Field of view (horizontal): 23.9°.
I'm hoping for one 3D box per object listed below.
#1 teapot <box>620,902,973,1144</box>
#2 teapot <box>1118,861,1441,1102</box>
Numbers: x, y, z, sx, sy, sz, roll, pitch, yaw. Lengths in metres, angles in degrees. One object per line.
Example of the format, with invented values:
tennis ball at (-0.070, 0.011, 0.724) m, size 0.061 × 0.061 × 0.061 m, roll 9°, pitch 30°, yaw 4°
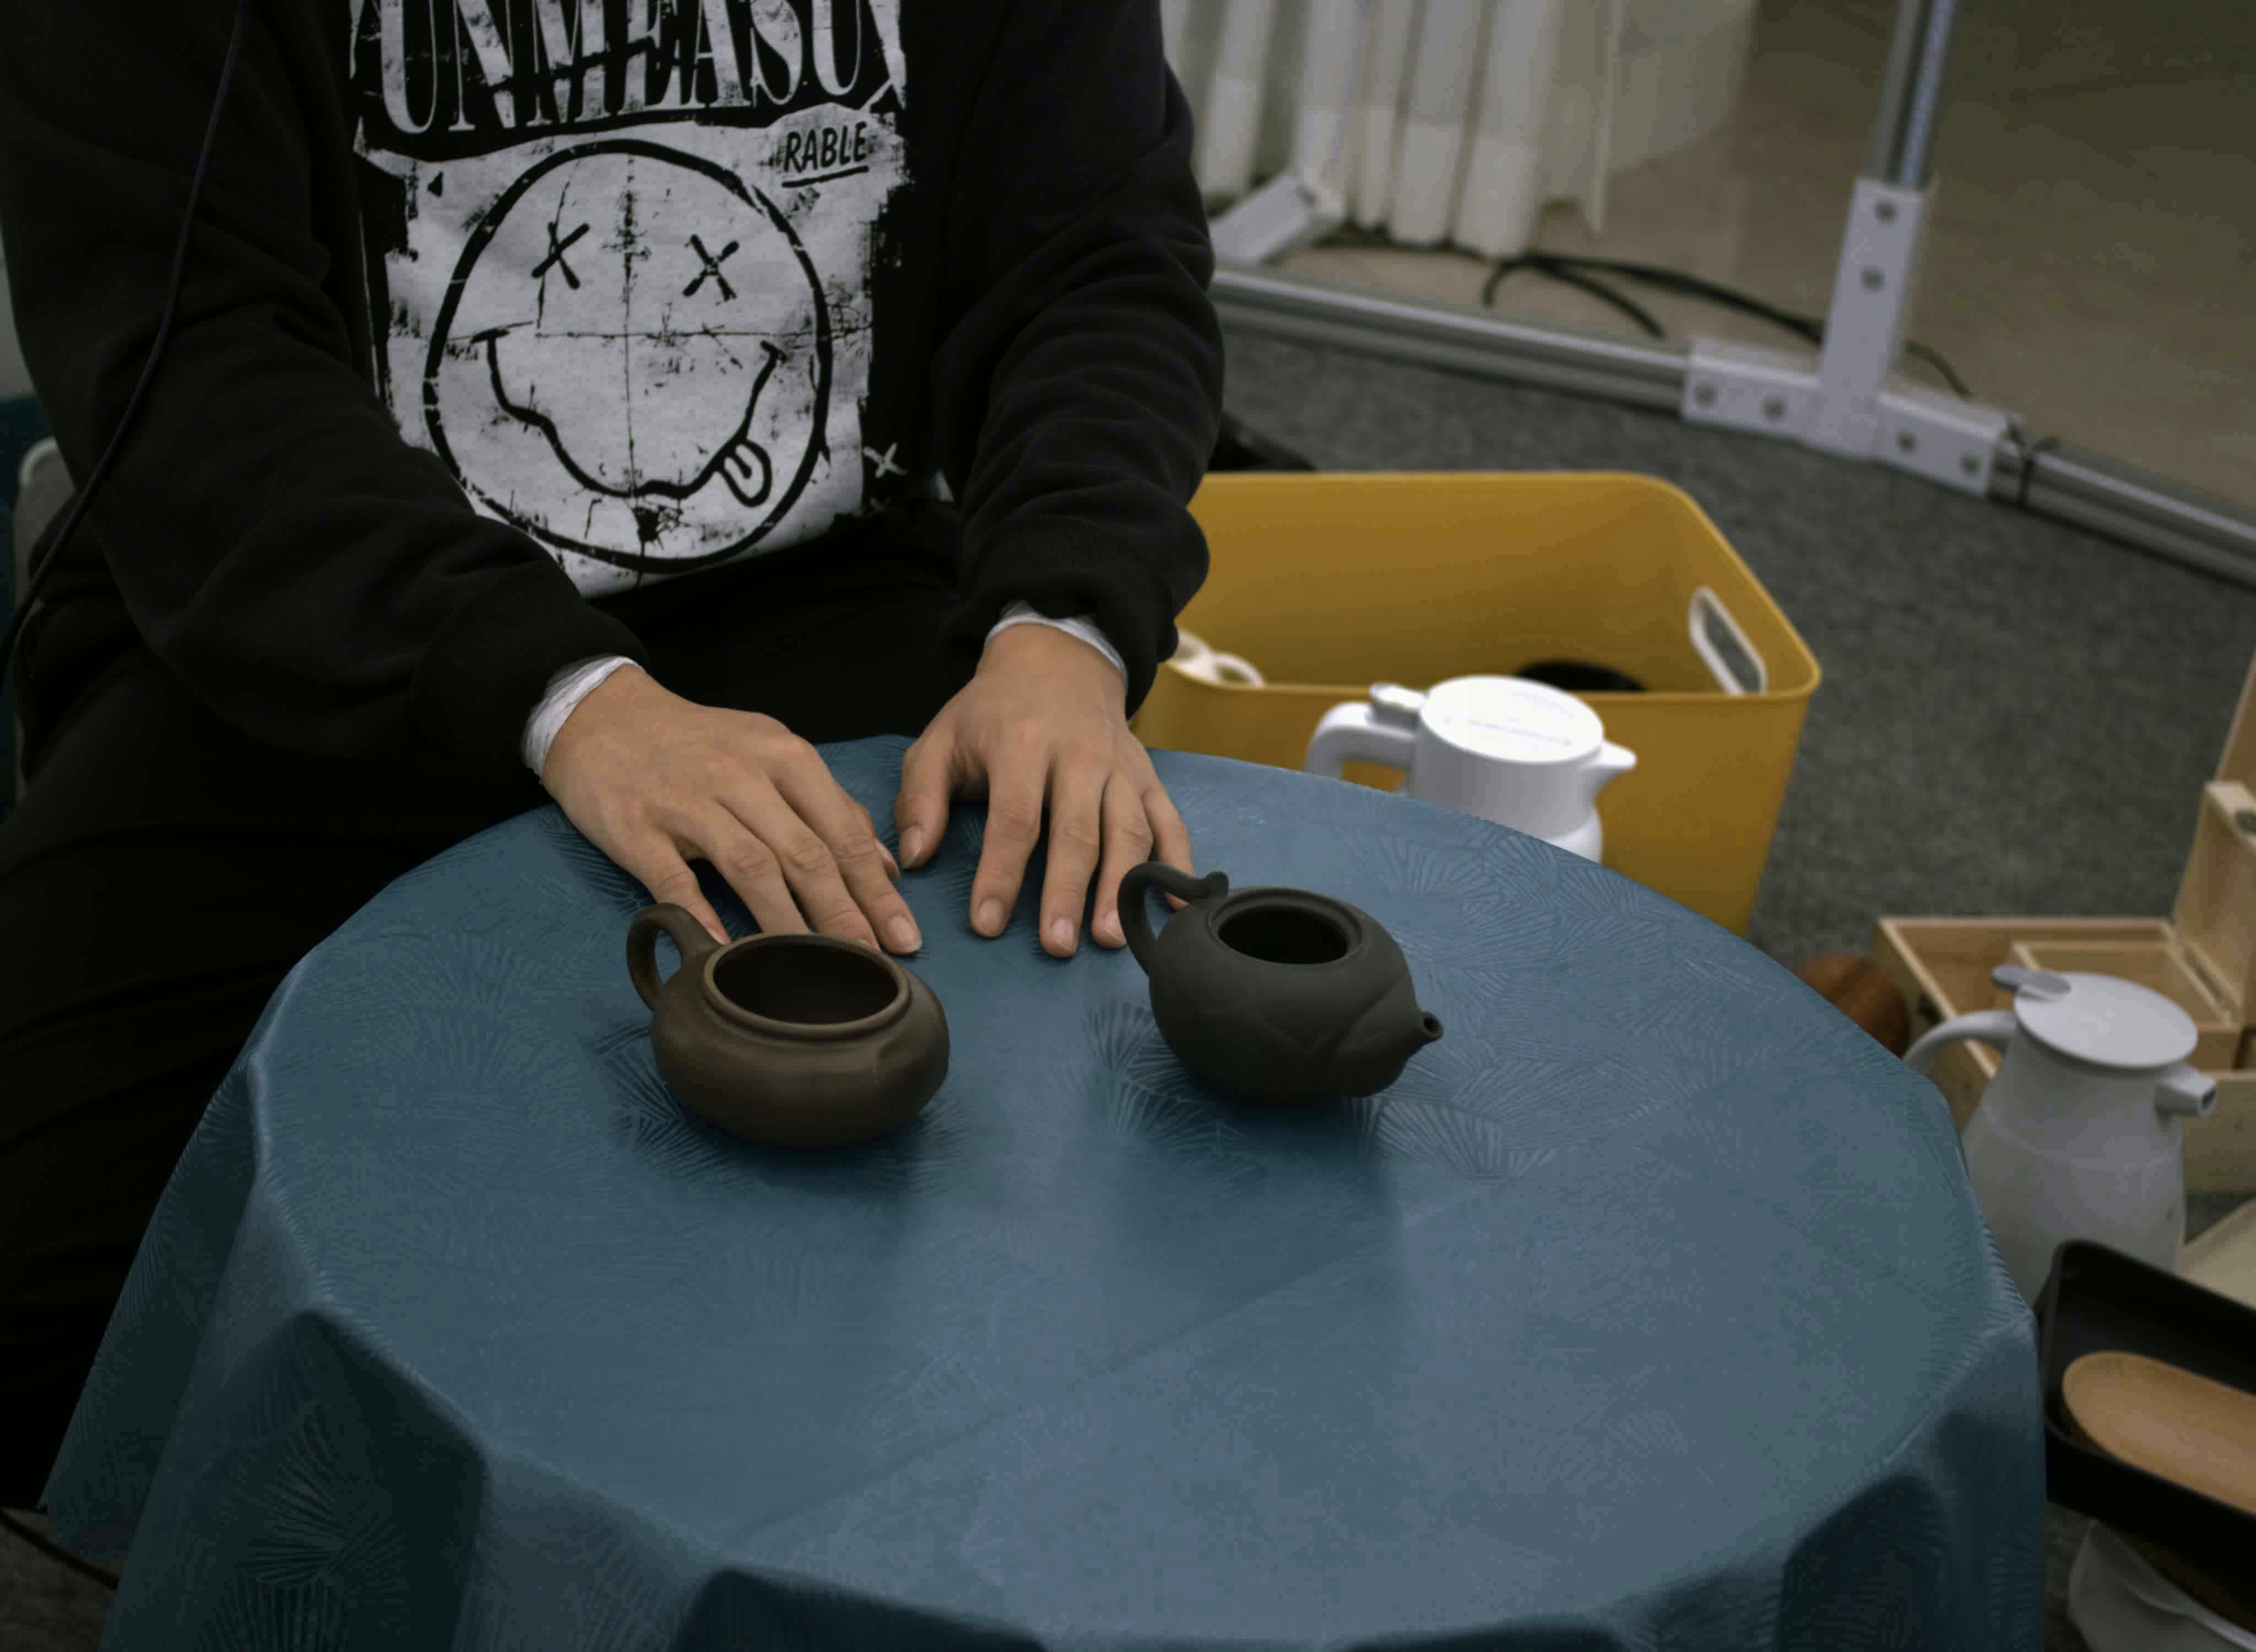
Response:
teapot at (-0.116, 0.069, 1.826) m, size 0.154 × 0.053 × 0.102 m, roll 23°, pitch 29°, yaw 29°
teapot at (0.050, 0.057, 1.877) m, size 0.092 × 0.064 × 0.155 m, roll -17°, pitch 35°, yaw -41°
